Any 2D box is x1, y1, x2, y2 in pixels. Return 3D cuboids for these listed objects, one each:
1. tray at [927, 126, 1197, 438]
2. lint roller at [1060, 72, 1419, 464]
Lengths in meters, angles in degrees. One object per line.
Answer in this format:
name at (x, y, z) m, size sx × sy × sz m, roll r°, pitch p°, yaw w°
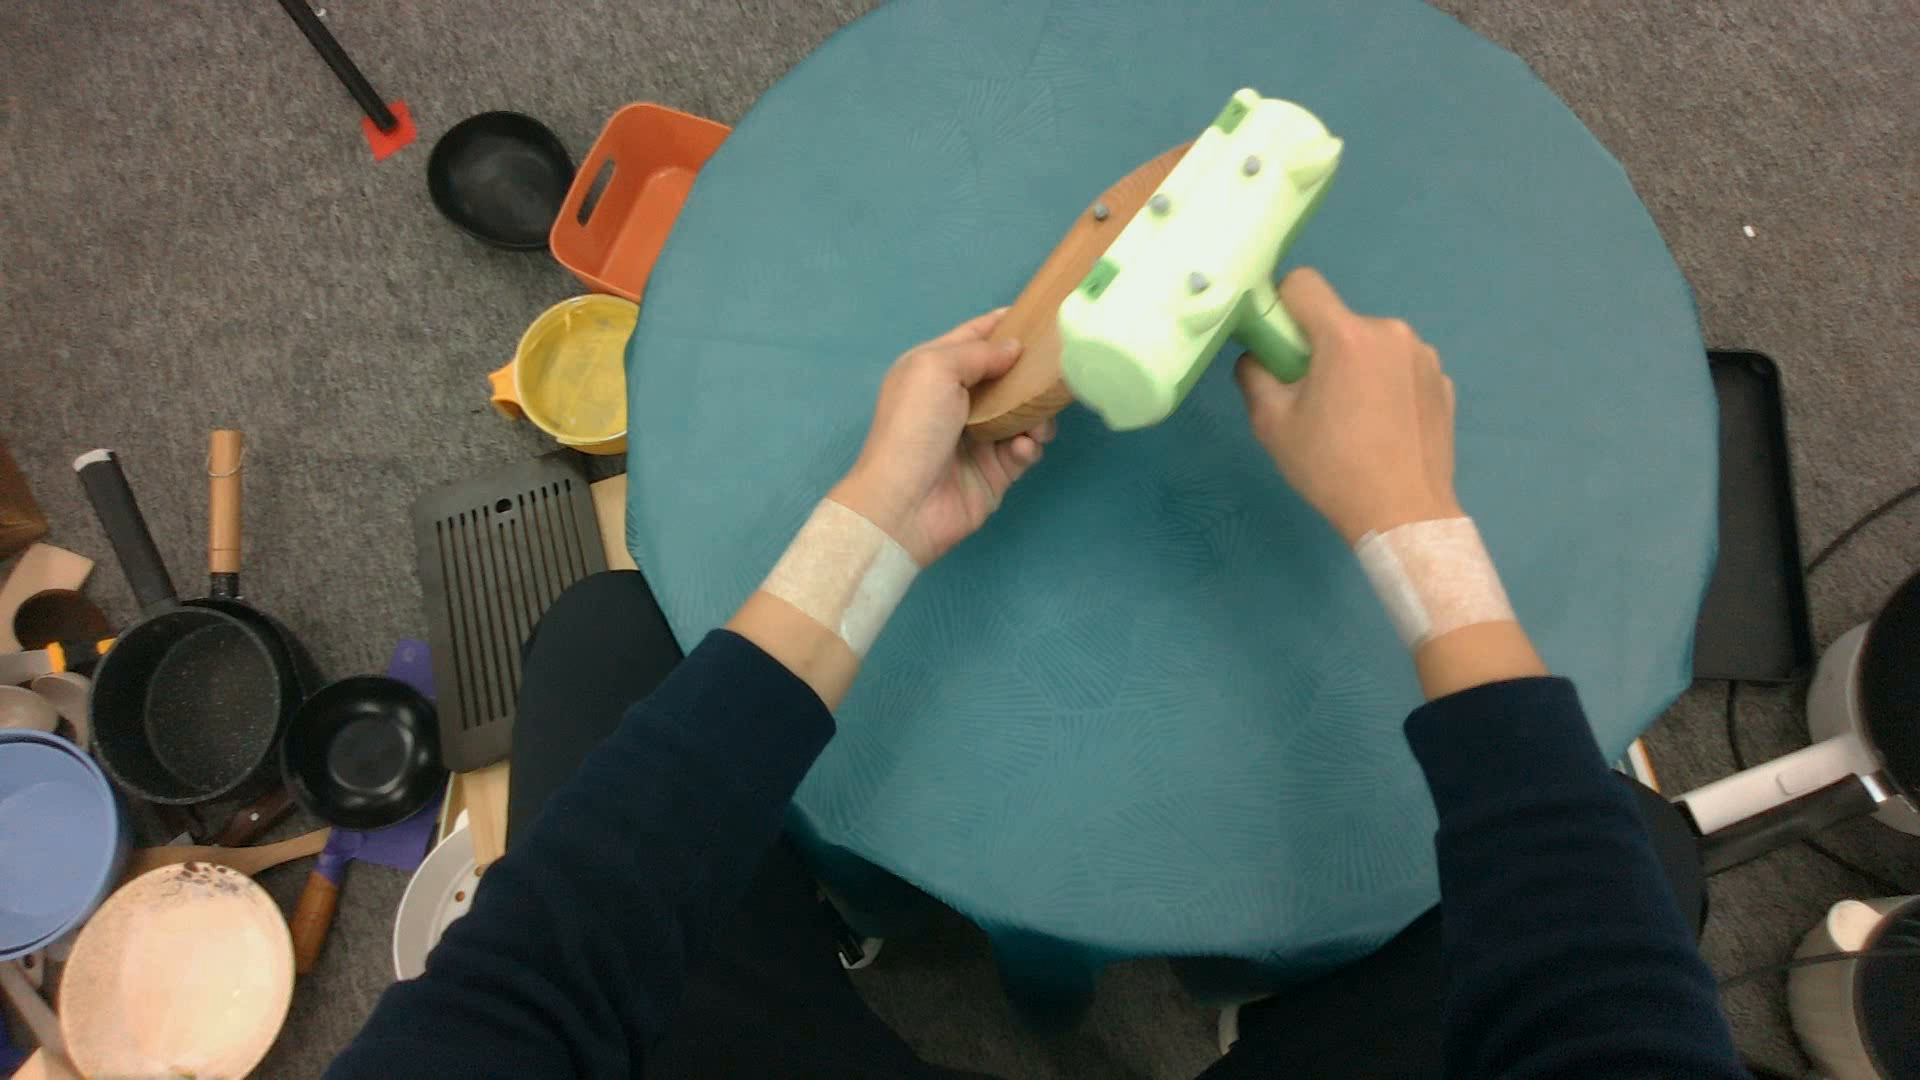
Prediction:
tray at (0.060, -0.132, 0.681) m, size 0.020 × 0.101 × 0.232 m, roll 48°, pitch 55°, yaw -24°
lint roller at (0.157, -0.109, 0.626) m, size 0.183 × 0.082 × 0.199 m, roll 39°, pitch 56°, yaw -3°
